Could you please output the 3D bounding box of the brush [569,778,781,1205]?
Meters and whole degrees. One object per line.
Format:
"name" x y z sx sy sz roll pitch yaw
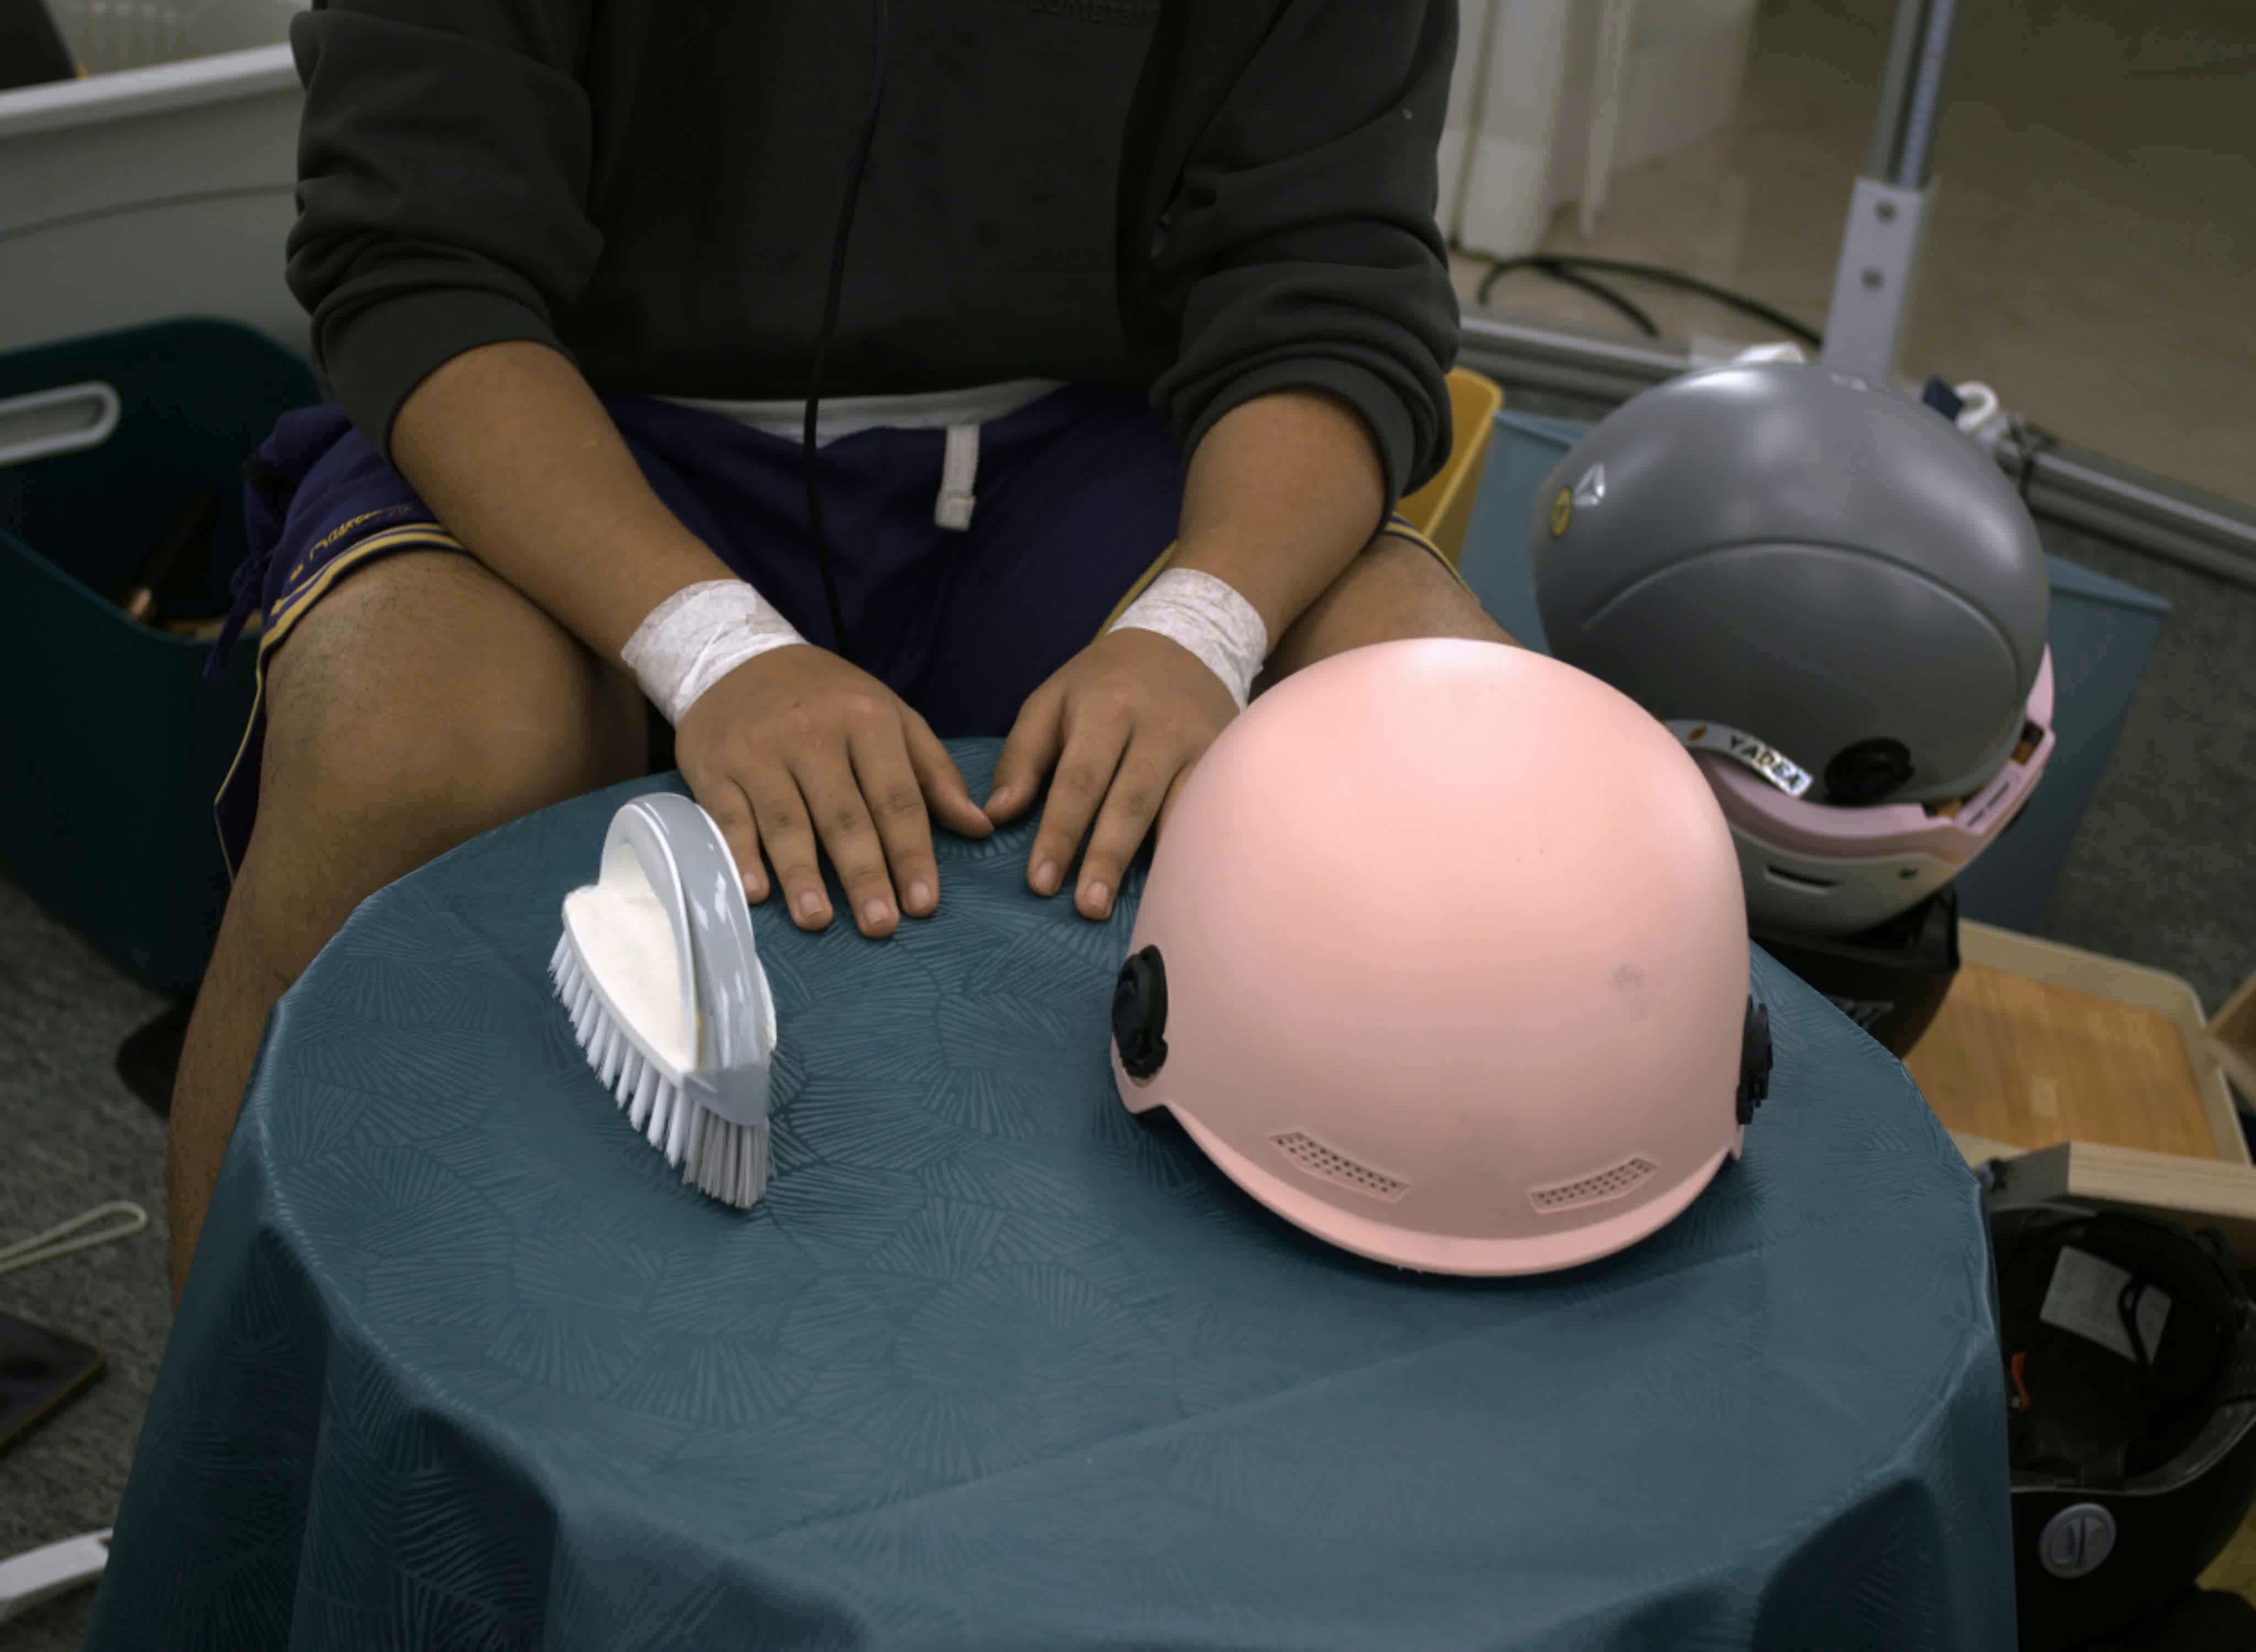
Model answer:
"brush" -0.147 0.048 1.816 0.061 0.094 0.177 -3 30 -18

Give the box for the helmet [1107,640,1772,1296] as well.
"helmet" 0.113 0.030 1.846 0.233 0.158 0.268 5 30 -5
